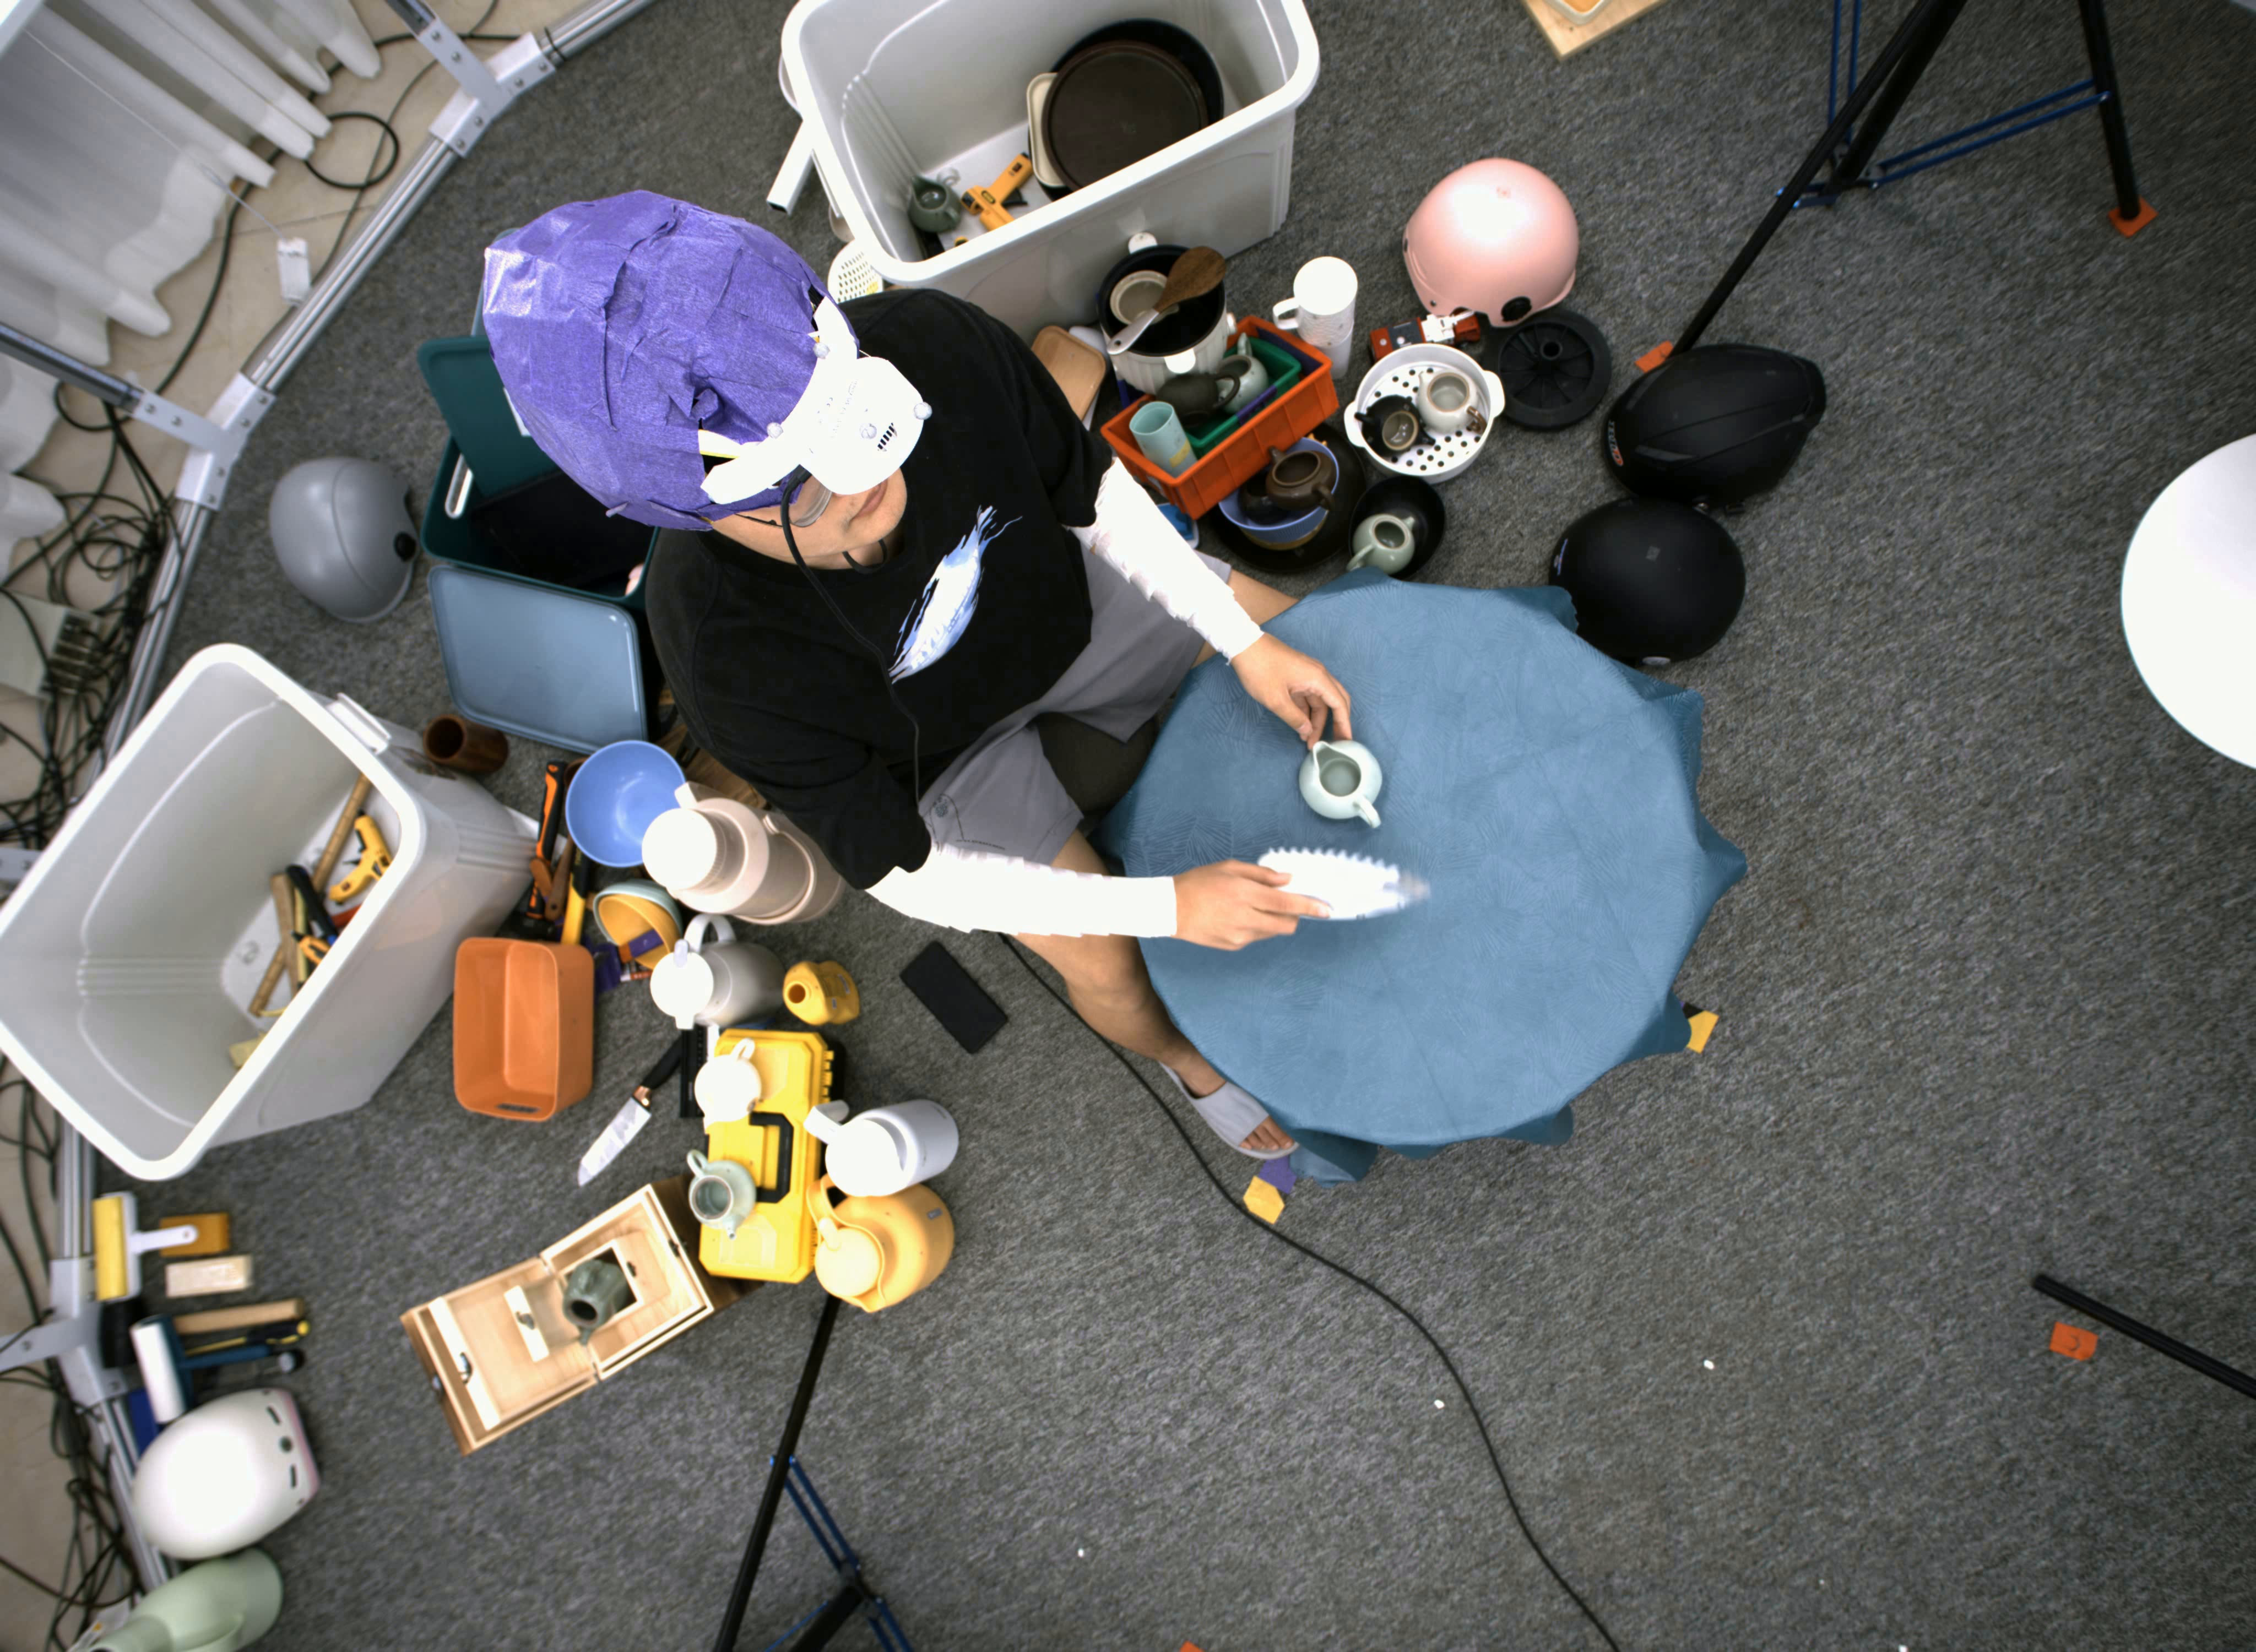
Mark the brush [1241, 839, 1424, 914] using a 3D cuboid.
[{"bbox_3d":[0.195,0.055,1.360,0.176,0.092,0.062,3,115,31],"label":"brush"}]

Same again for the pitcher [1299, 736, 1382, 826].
[{"bbox_3d":[0.229,-0.045,1.444,0.086,0.060,0.107,-40,82,6],"label":"pitcher"}]
